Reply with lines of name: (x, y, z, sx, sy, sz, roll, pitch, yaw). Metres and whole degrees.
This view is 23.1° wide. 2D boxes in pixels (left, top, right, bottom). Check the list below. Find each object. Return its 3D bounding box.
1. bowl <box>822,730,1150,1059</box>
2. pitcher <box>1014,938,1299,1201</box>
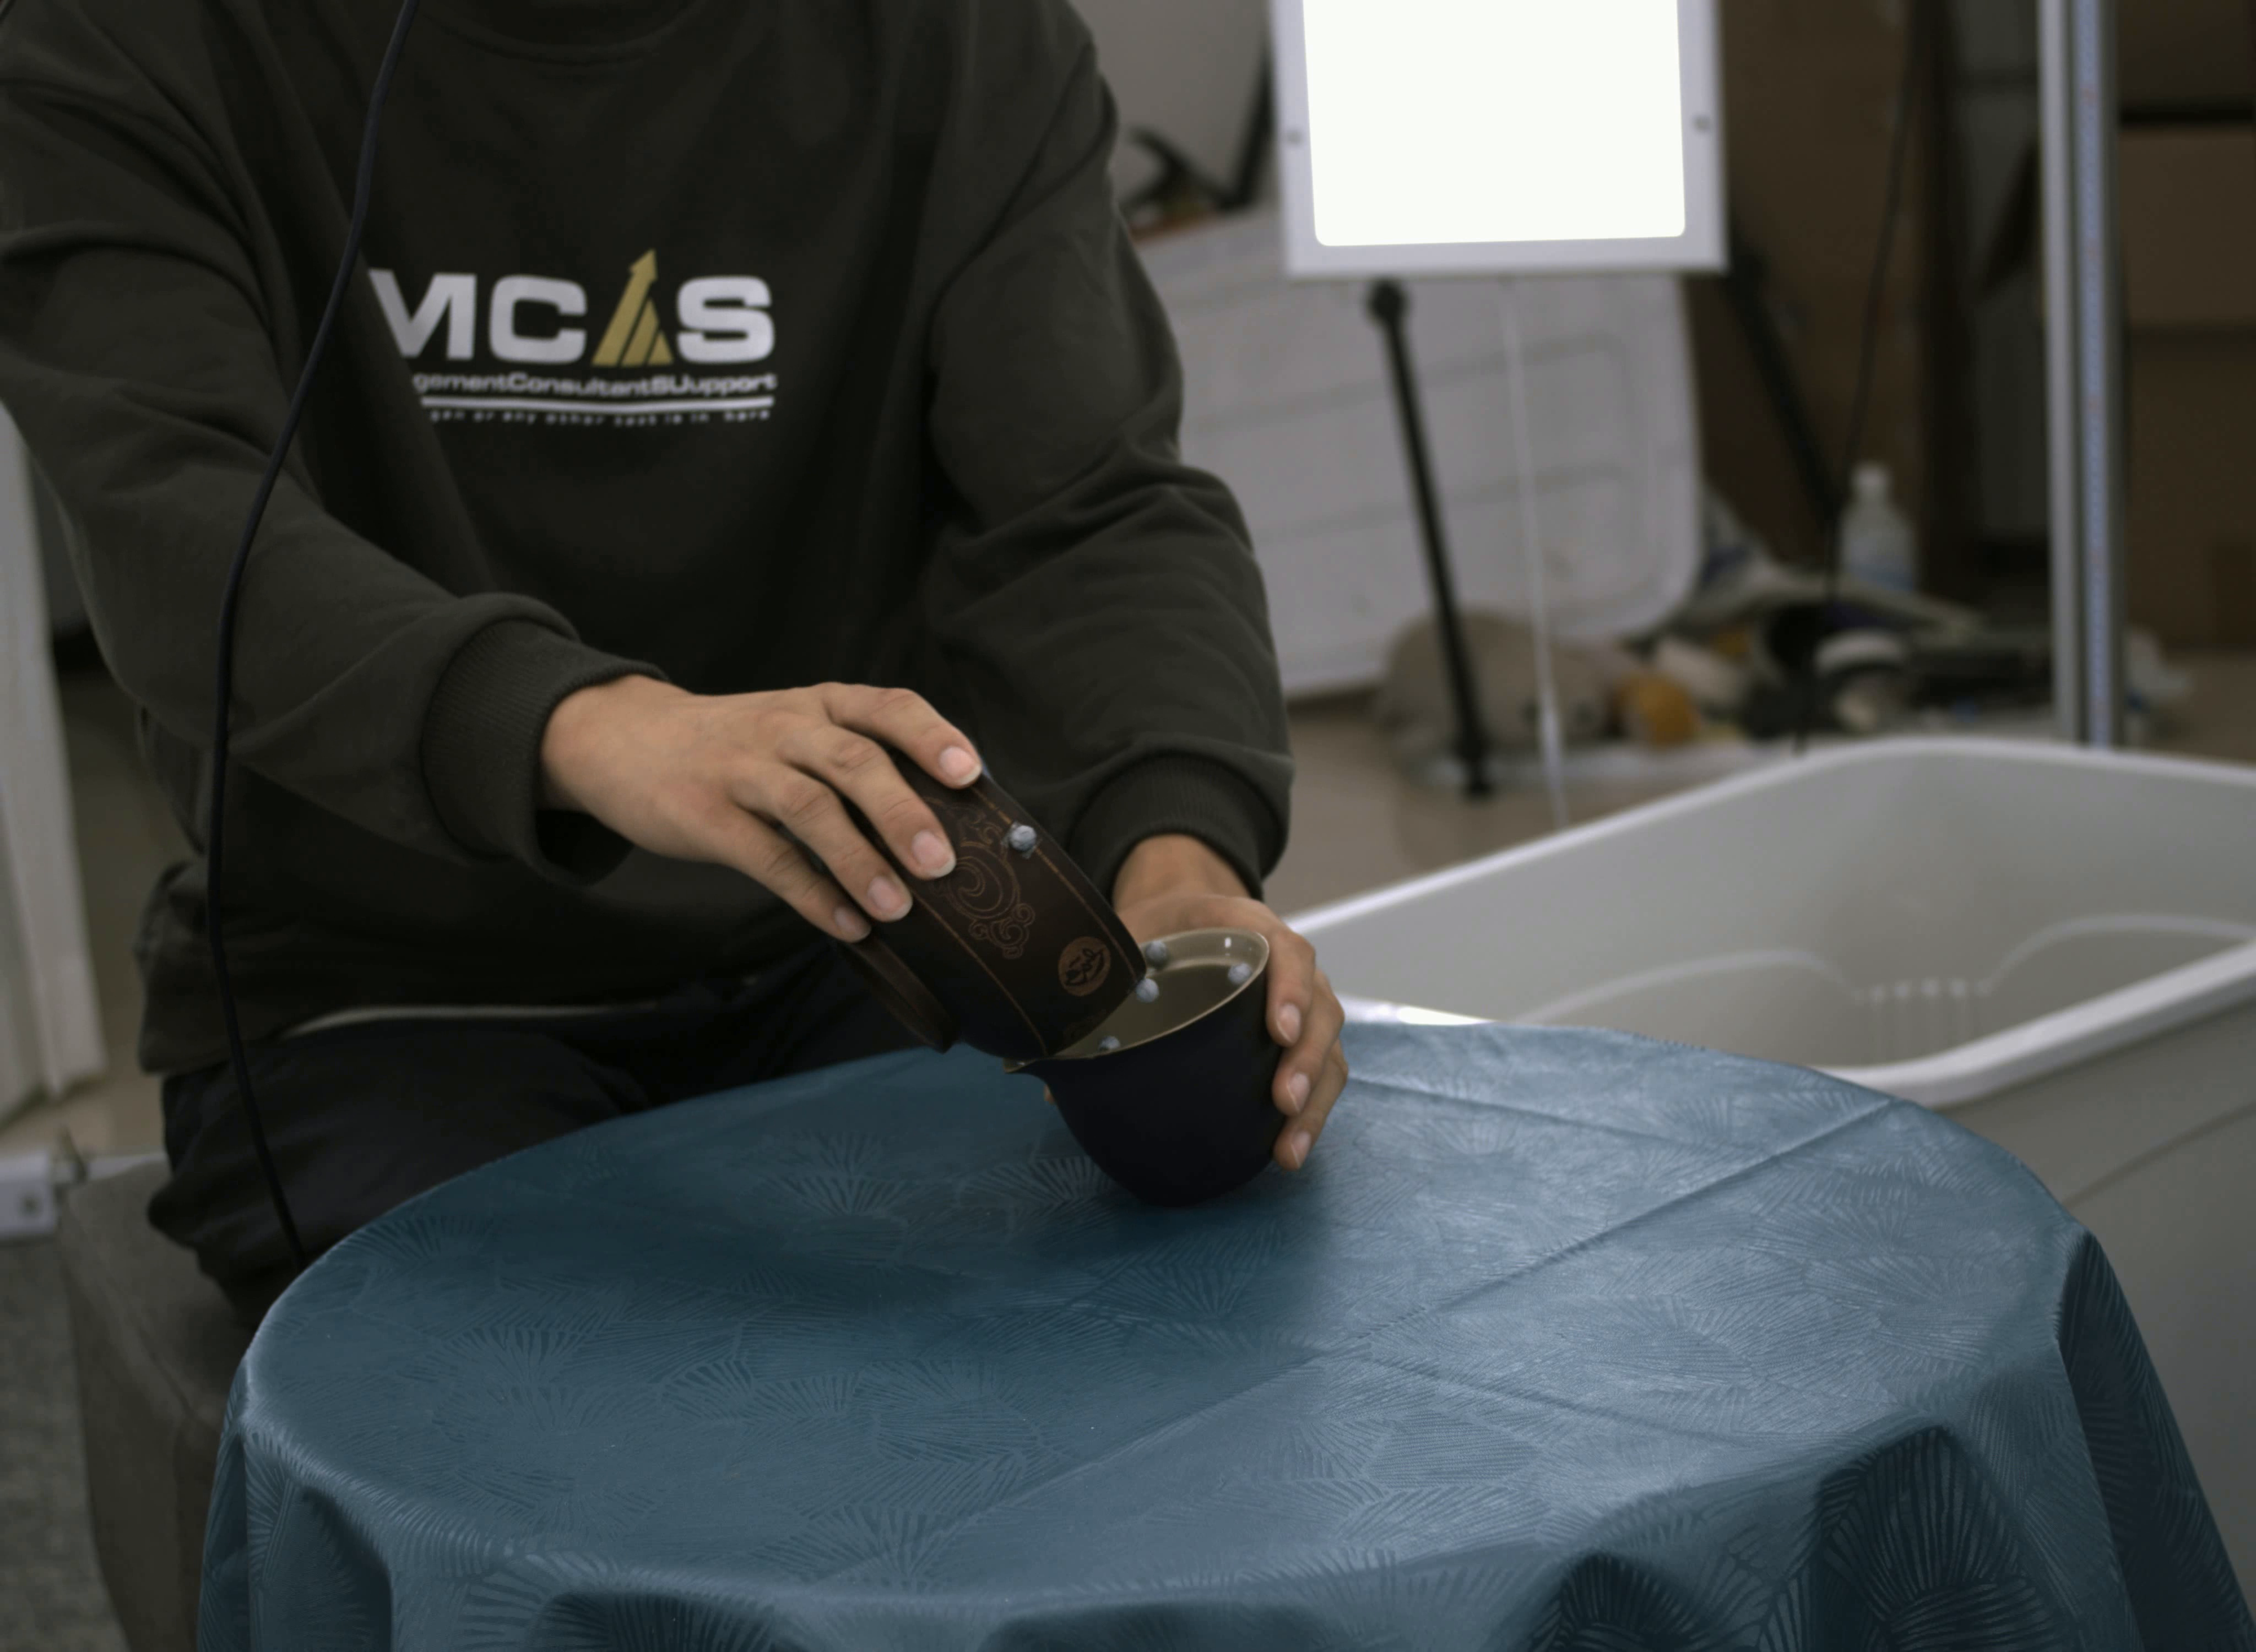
bowl: (-0.056, 0.032, 1.842, 0.069, 0.117, 0.120, -46, 24, -10)
pitcher: (0.016, 0.087, 1.882, 0.095, 0.071, 0.084, -26, 22, -8)
